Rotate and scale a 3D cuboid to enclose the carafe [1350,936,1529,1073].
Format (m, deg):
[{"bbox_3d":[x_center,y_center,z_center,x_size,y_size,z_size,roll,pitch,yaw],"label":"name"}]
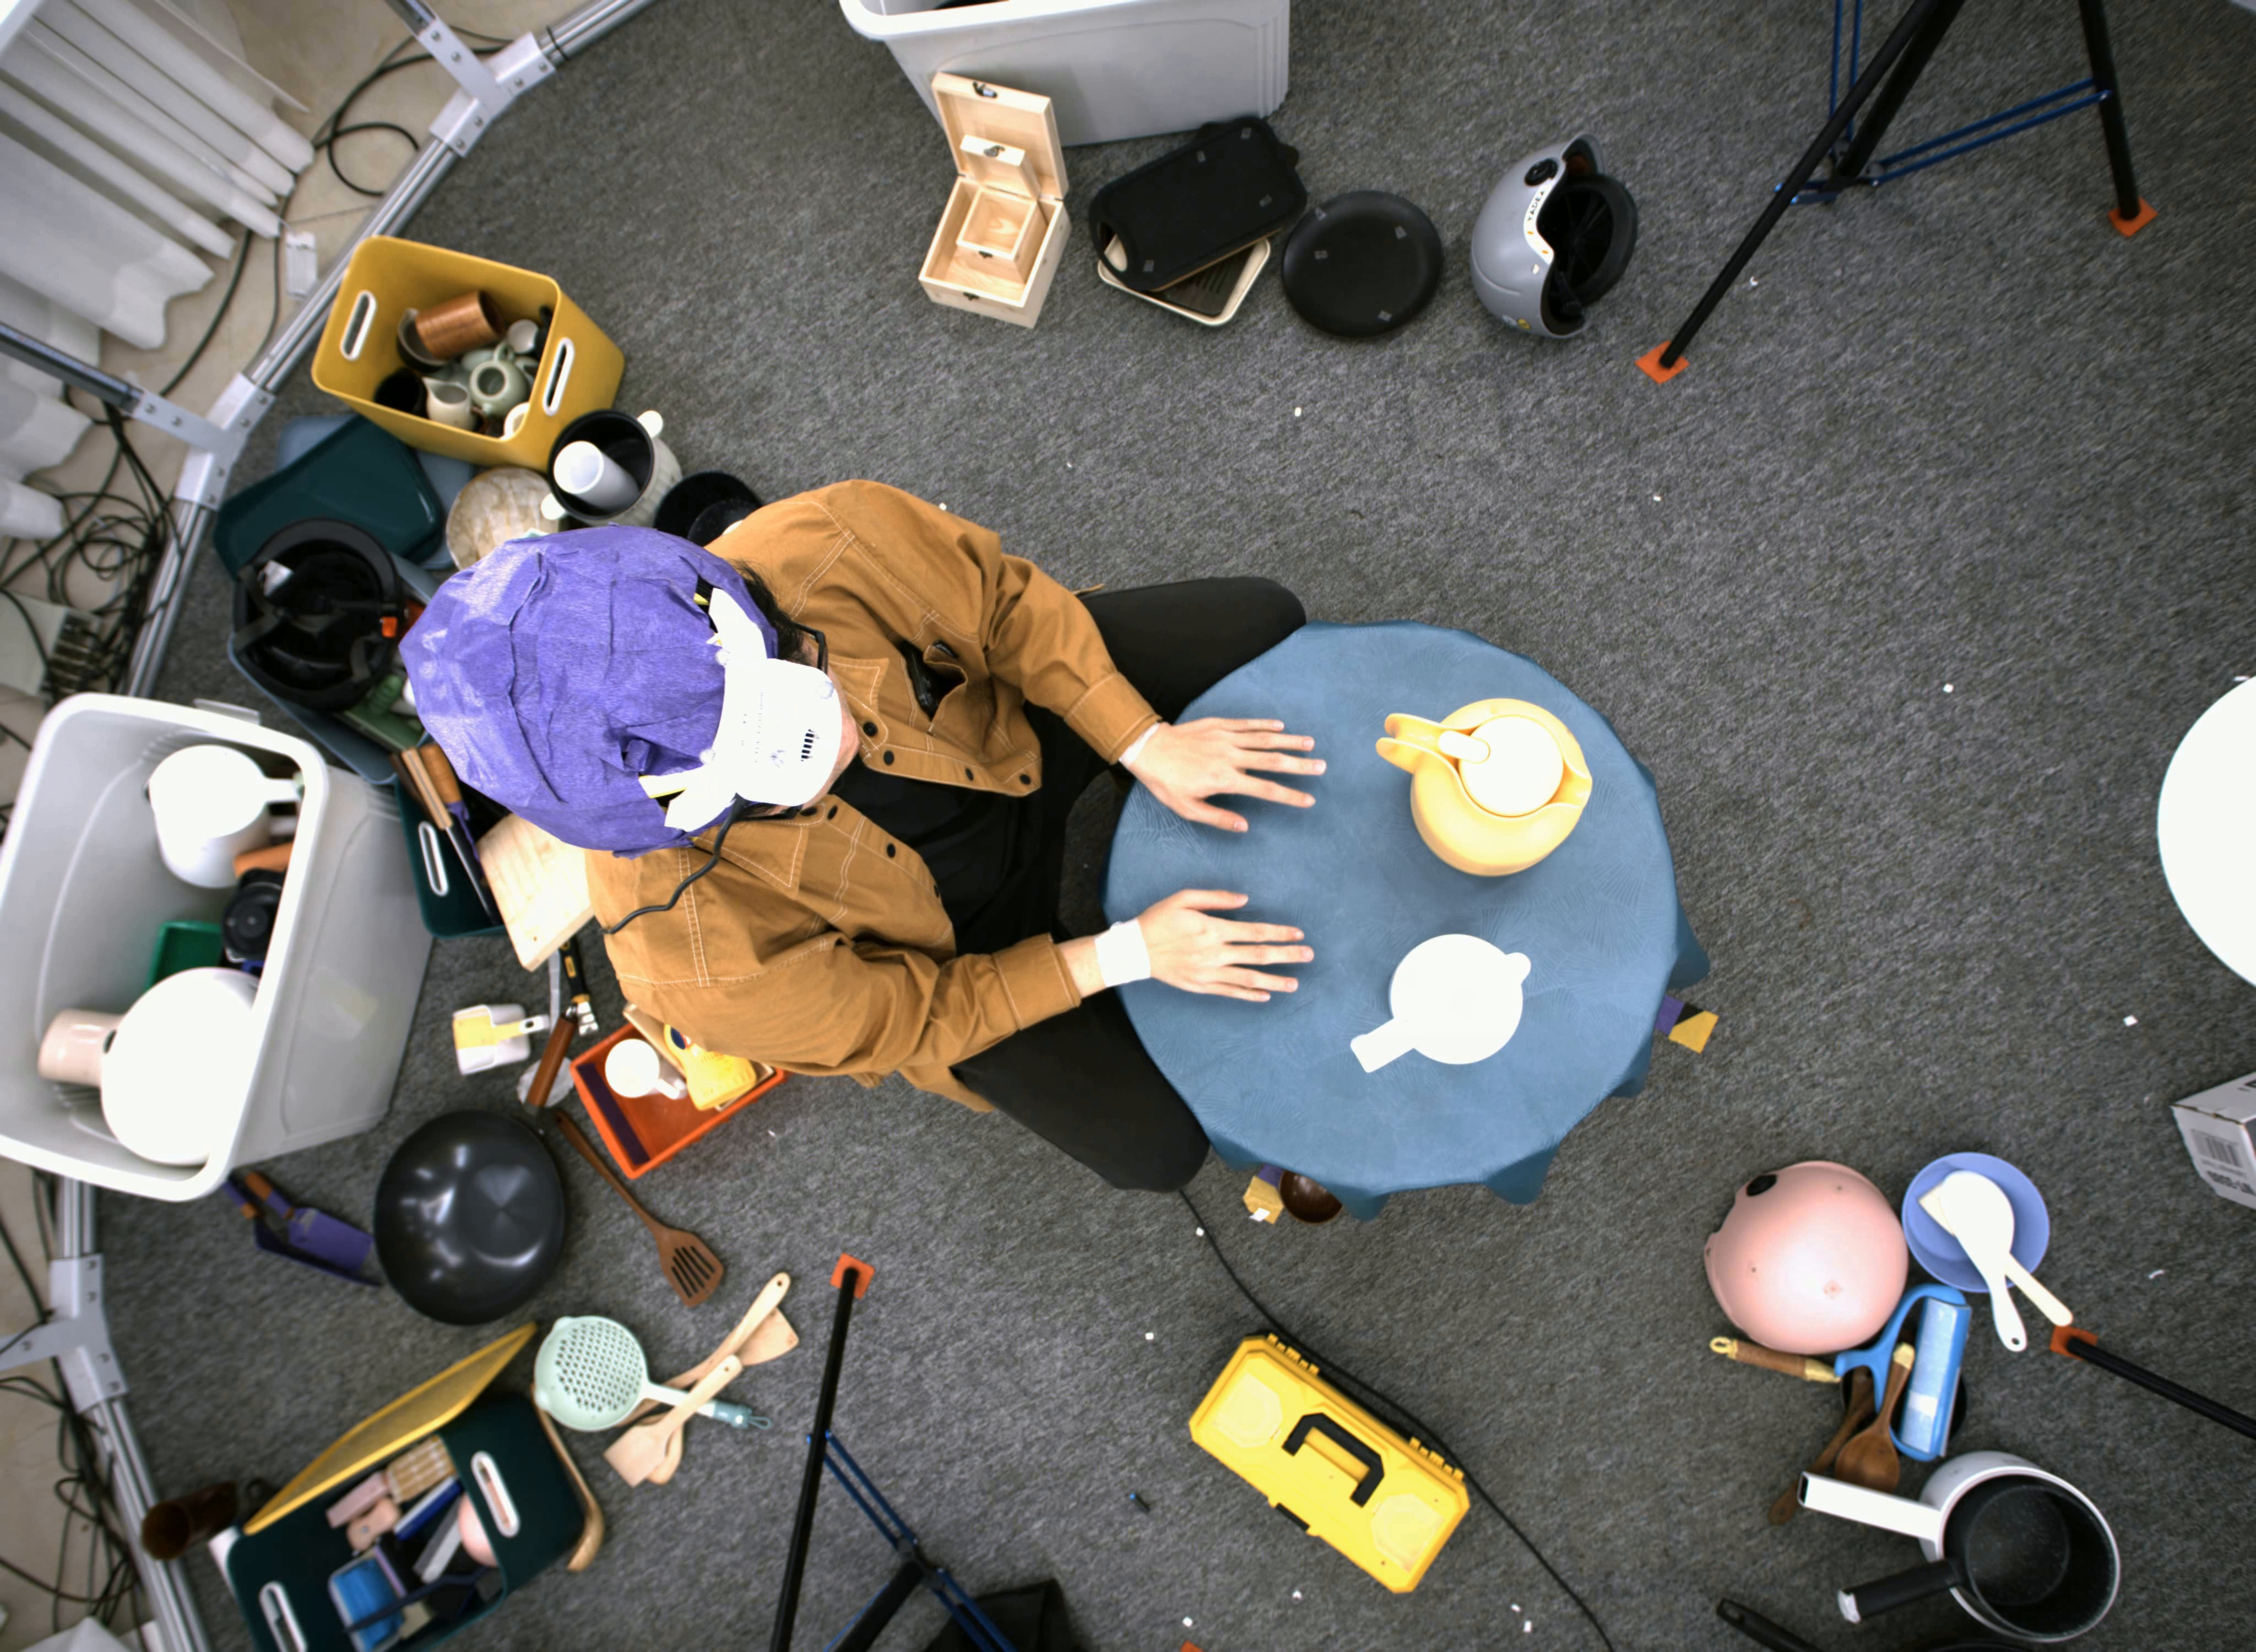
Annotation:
[{"bbox_3d":[0.294,0.173,1.316,0.174,0.269,0.123,-33,82,6],"label":"carafe"}]

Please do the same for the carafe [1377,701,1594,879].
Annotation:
[{"bbox_3d":[0.338,-0.049,1.320,0.202,0.261,0.163,24,87,10],"label":"carafe"}]
